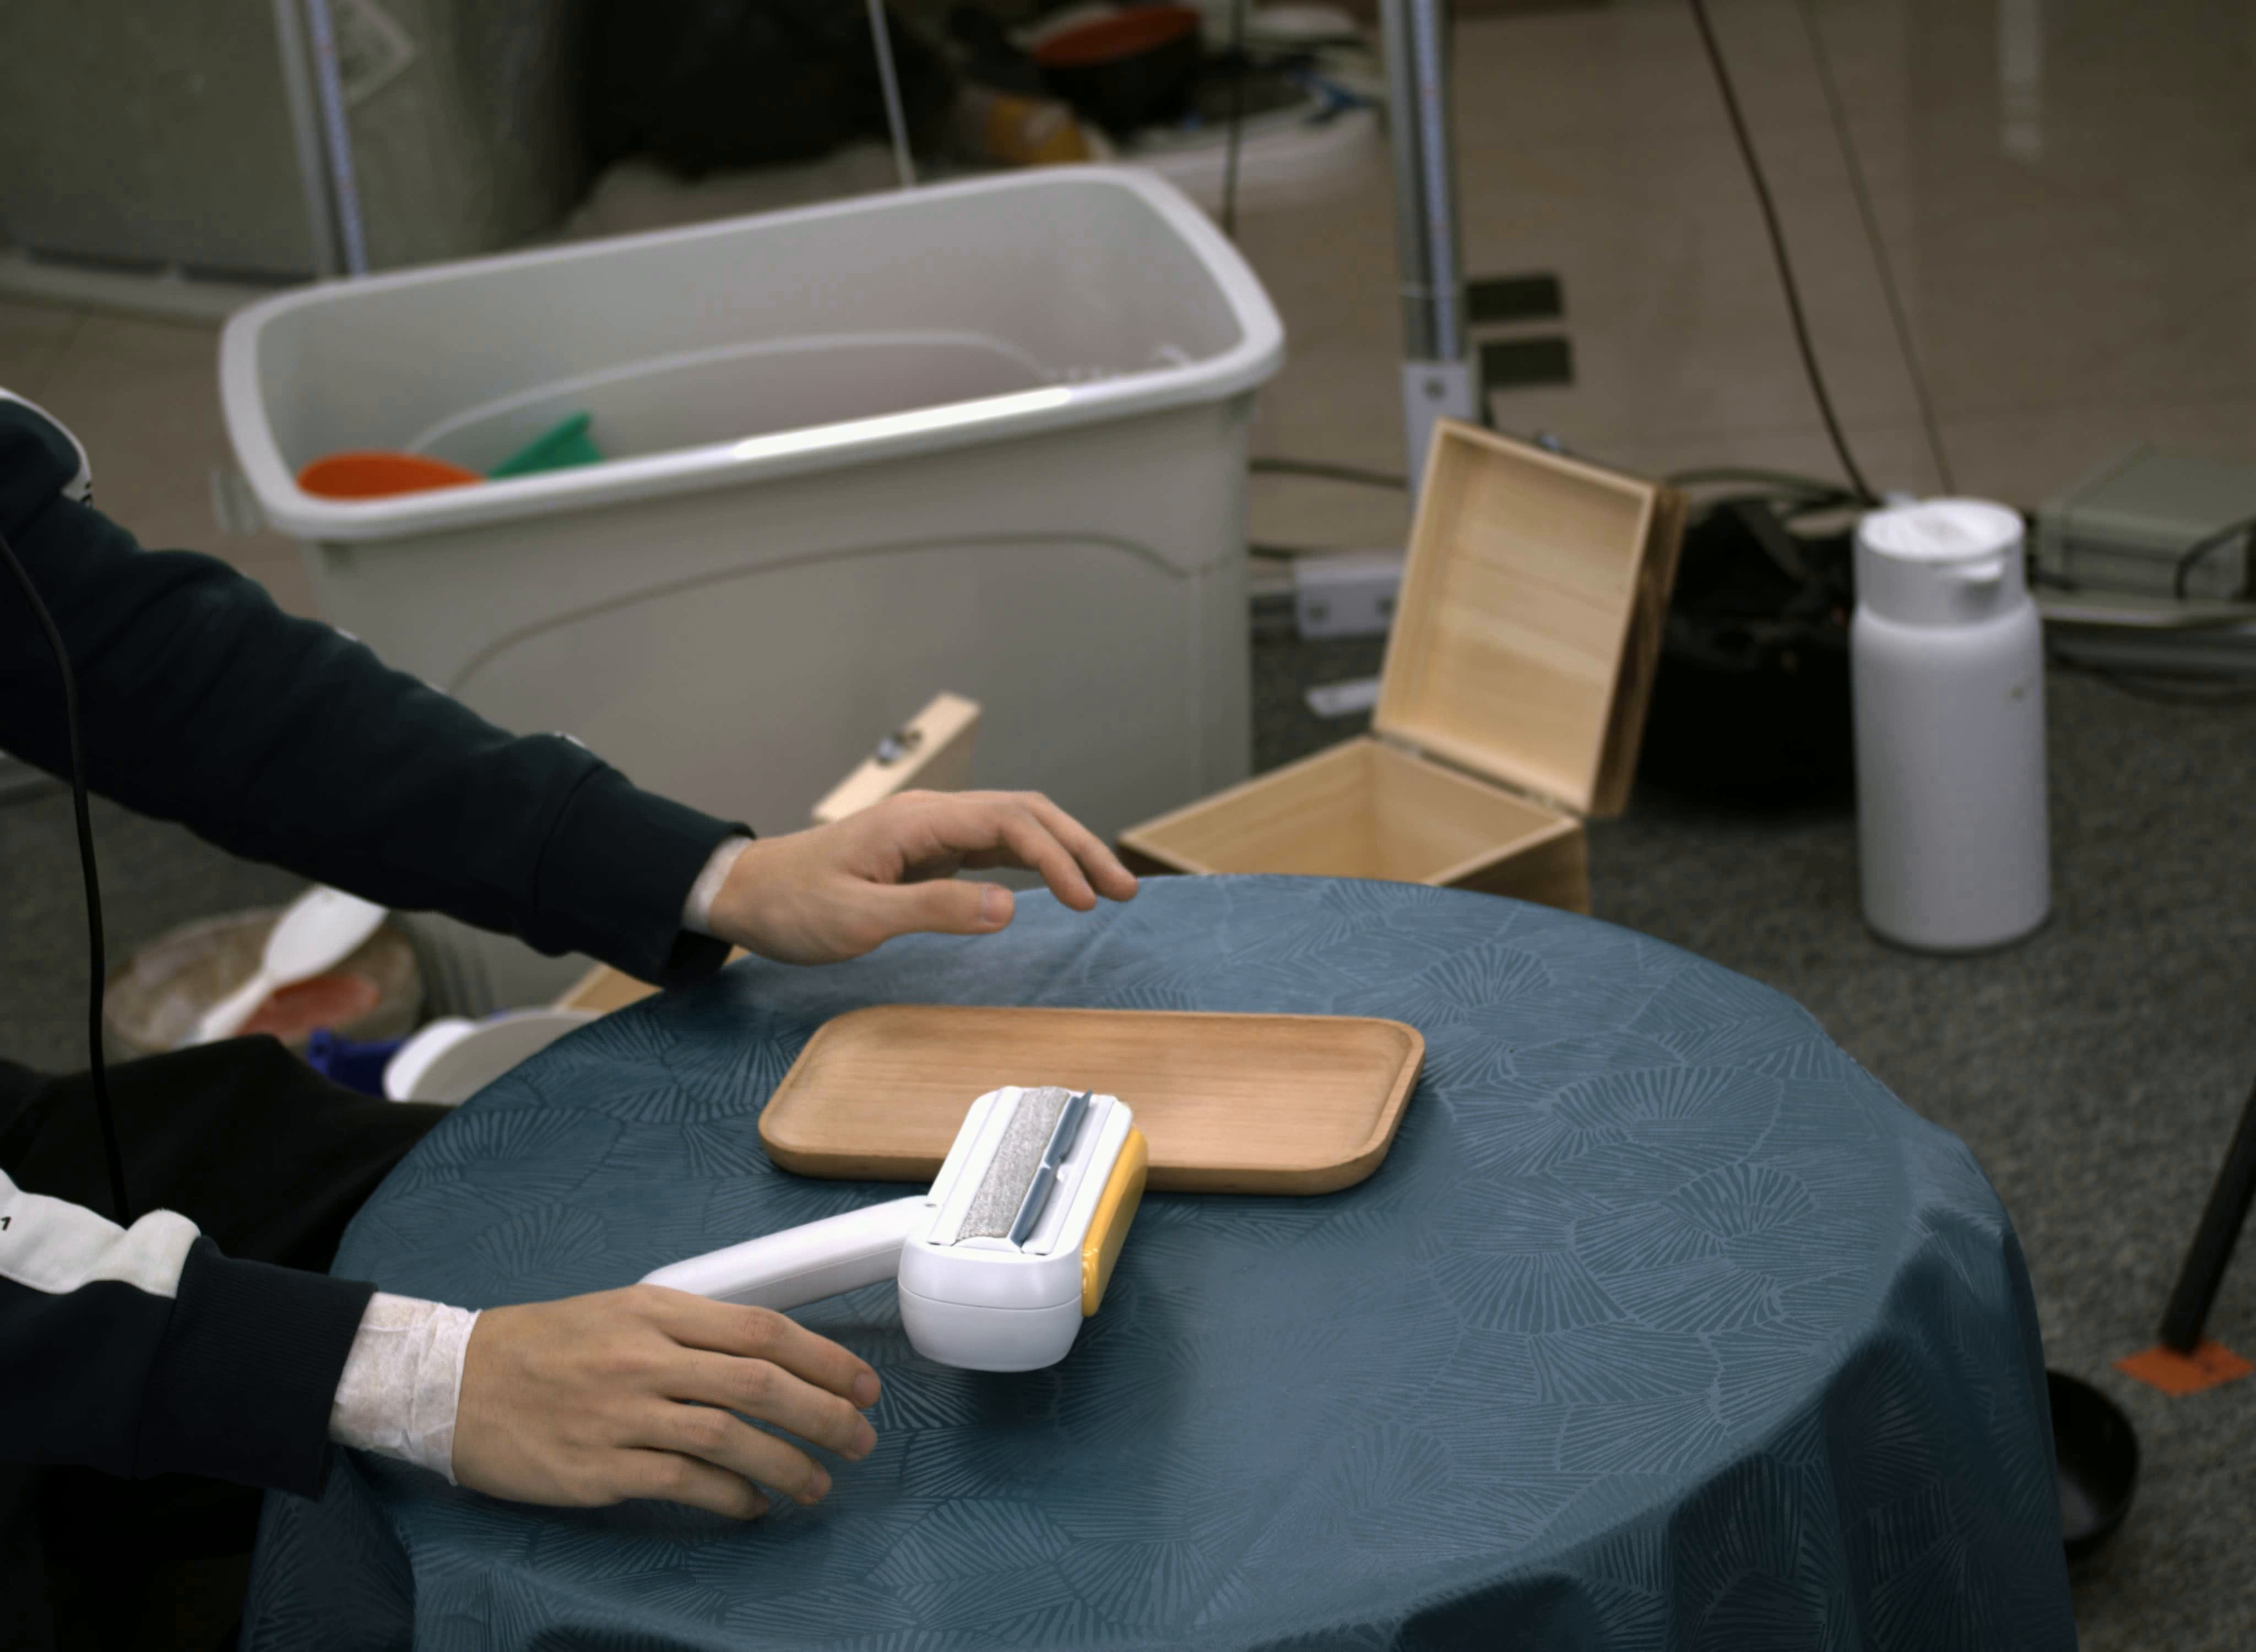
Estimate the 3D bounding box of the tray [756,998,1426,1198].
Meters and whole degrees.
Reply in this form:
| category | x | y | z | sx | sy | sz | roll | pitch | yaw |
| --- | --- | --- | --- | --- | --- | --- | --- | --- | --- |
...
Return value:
| category | x | y | z | sx | sy | sz | roll | pitch | yaw |
| --- | --- | --- | --- | --- | --- | --- | --- | --- | --- |
| tray | -0.014 | 0.105 | 2.200 | 0.250 | 0.023 | 0.129 | 1 | 24 | 17 |

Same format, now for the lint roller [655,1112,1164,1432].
| category | x | y | z | sx | sy | sz | roll | pitch | yaw |
| --- | --- | --- | --- | --- | --- | --- | --- | --- | --- |
| lint roller | -0.090 | 0.171 | 2.060 | 0.192 | 0.075 | 0.190 | -14 | 15 | 18 |
